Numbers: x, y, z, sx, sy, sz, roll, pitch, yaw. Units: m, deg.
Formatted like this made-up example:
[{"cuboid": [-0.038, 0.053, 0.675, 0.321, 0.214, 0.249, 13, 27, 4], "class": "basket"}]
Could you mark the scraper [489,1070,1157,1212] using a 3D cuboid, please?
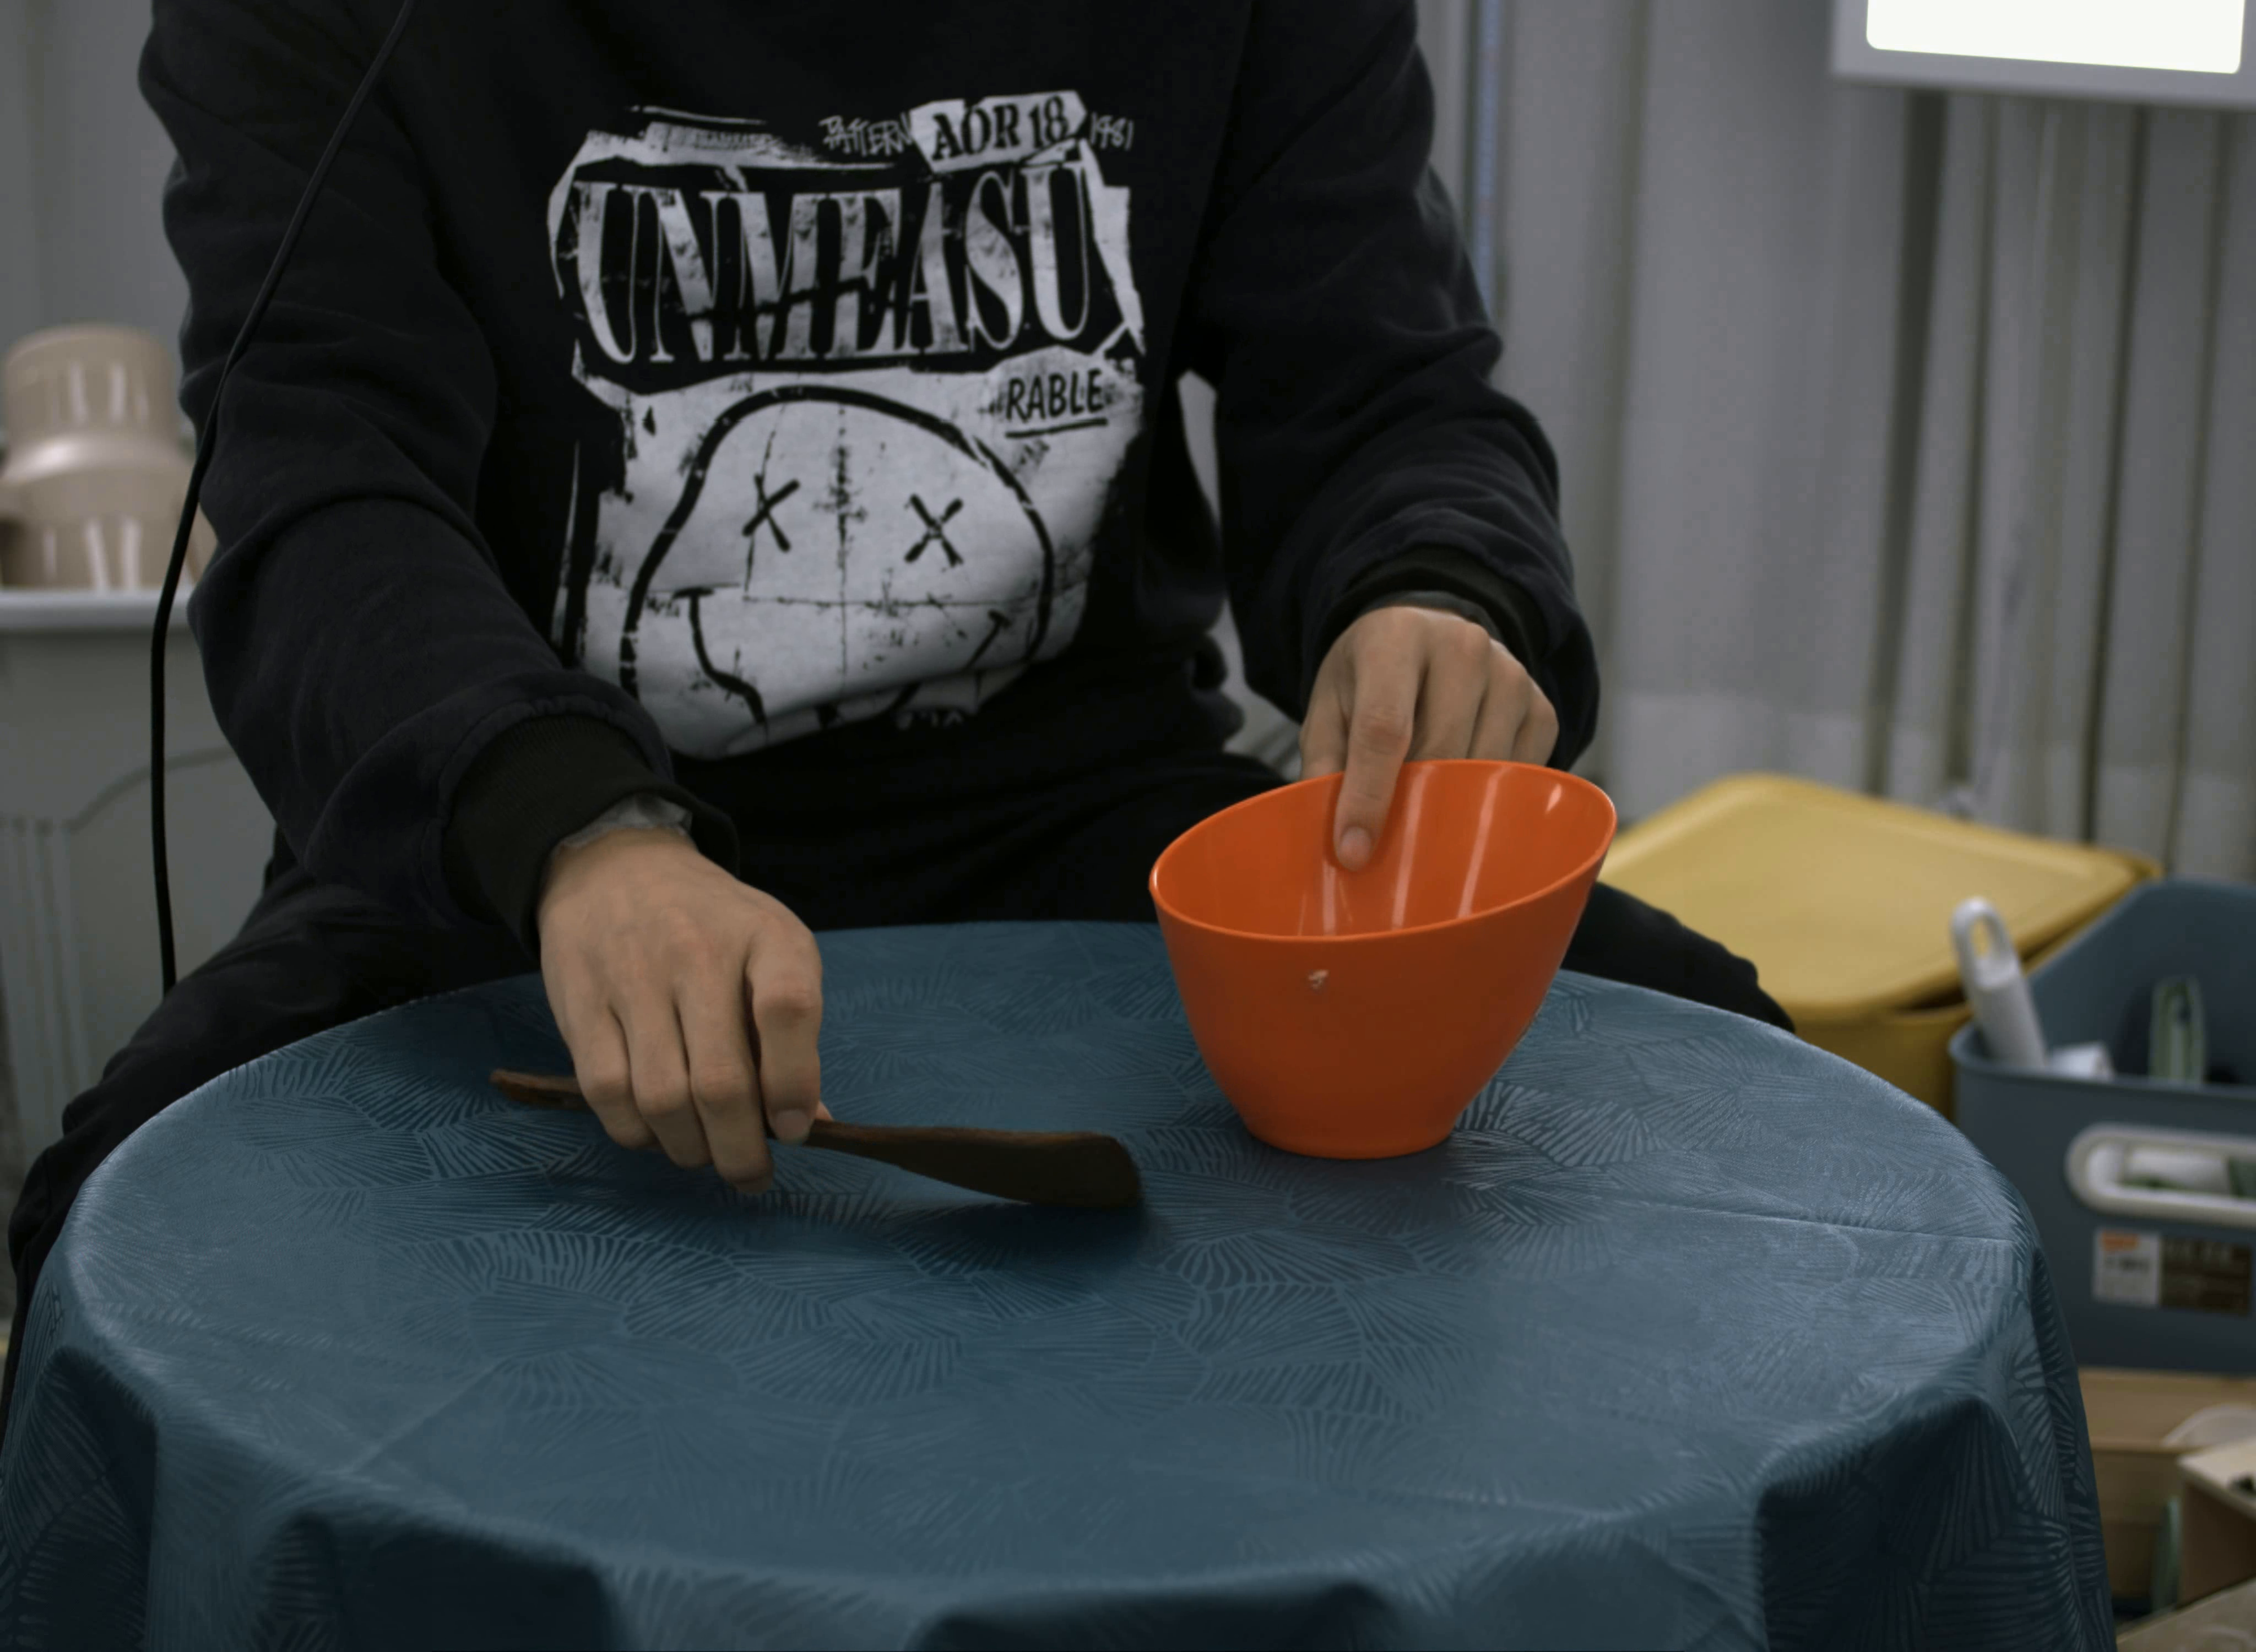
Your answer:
[{"cuboid": [-0.095, 0.094, 1.600, 0.209, 0.011, 0.076, 8, -16, 15], "class": "scraper"}]

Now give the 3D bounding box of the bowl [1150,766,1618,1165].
[{"cuboid": [0.080, 0.047, 1.674, 0.147, 0.105, 0.147, 1, 18, 0], "class": "bowl"}]
